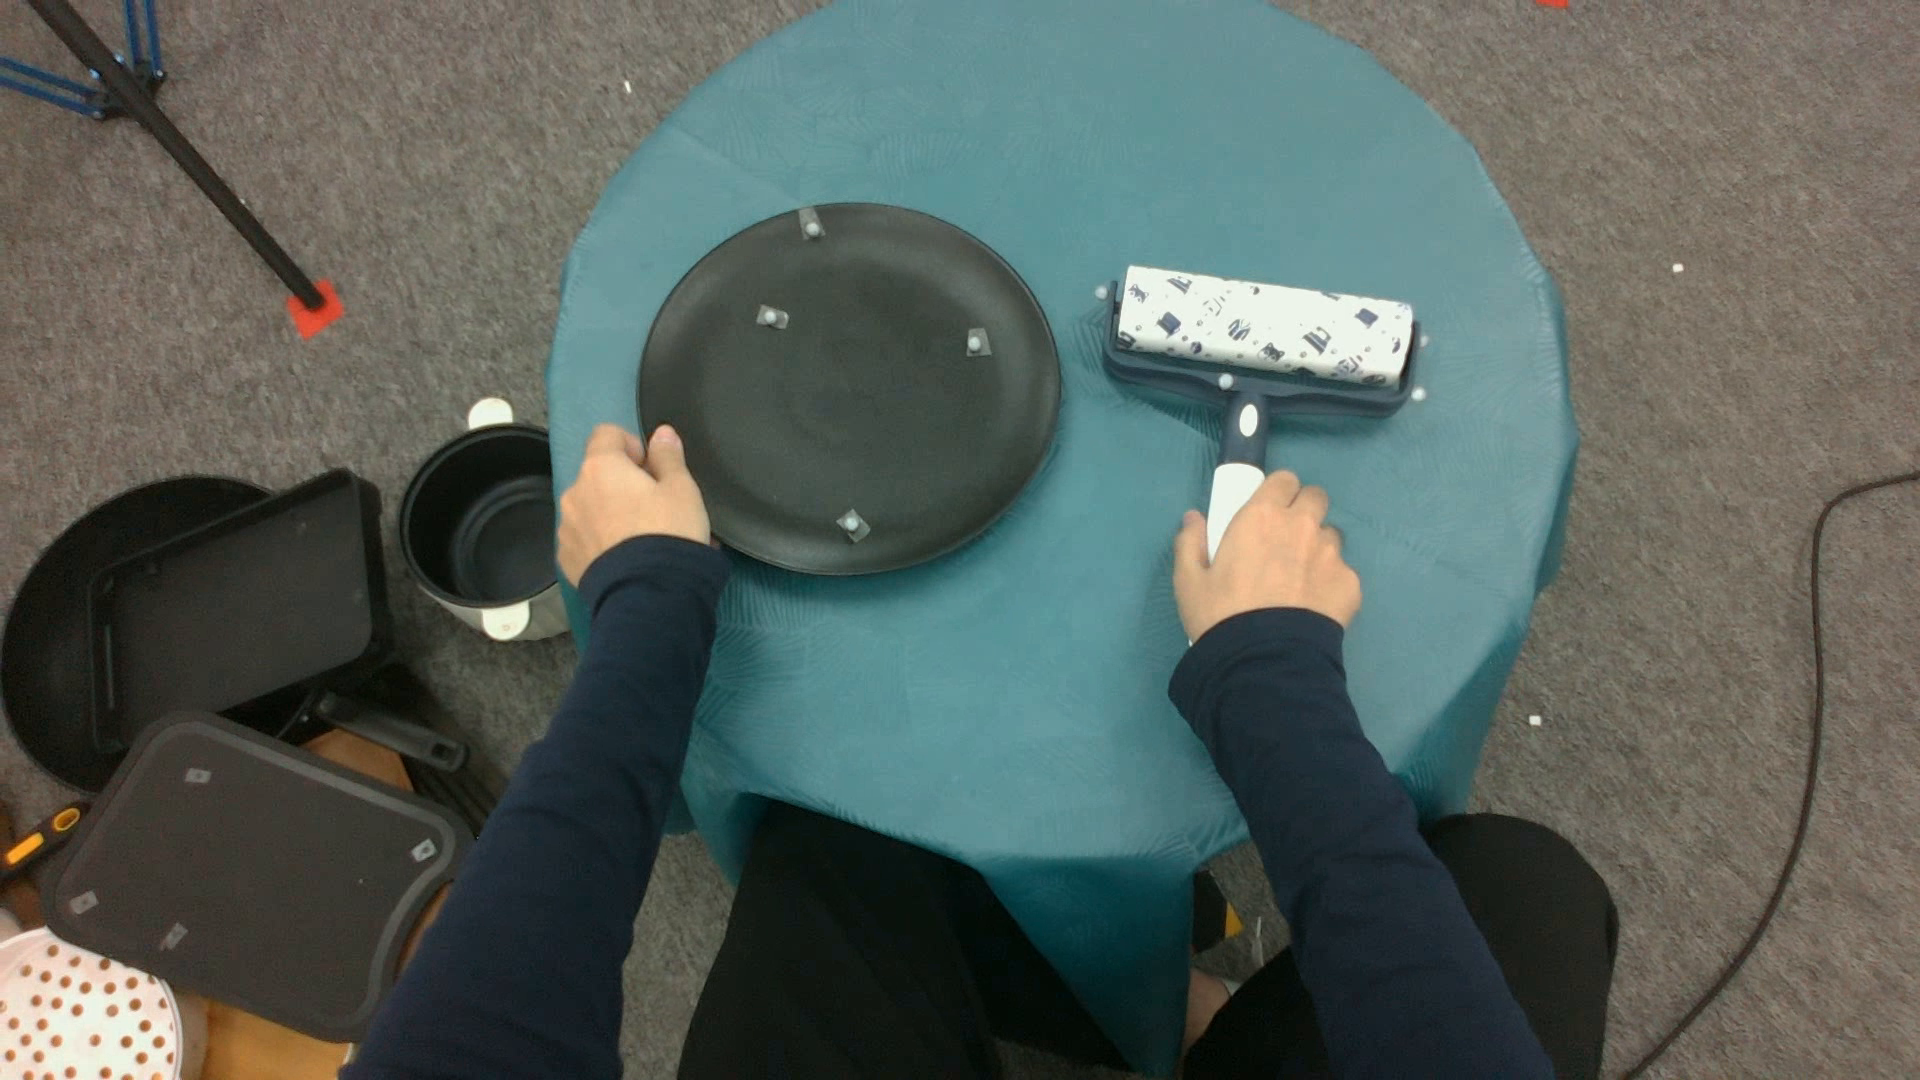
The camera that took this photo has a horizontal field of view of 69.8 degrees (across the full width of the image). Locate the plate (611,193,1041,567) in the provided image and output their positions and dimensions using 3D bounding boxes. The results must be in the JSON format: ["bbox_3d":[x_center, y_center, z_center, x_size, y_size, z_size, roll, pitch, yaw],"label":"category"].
[{"bbox_3d":[-0.075,-0.095,0.793,0.244,0.023,0.245,1,67,-2],"label":"plate"}]

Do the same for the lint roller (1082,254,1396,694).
[{"bbox_3d":[0.145,-0.037,0.762,0.176,0.050,0.248,9,71,3],"label":"lint roller"}]
